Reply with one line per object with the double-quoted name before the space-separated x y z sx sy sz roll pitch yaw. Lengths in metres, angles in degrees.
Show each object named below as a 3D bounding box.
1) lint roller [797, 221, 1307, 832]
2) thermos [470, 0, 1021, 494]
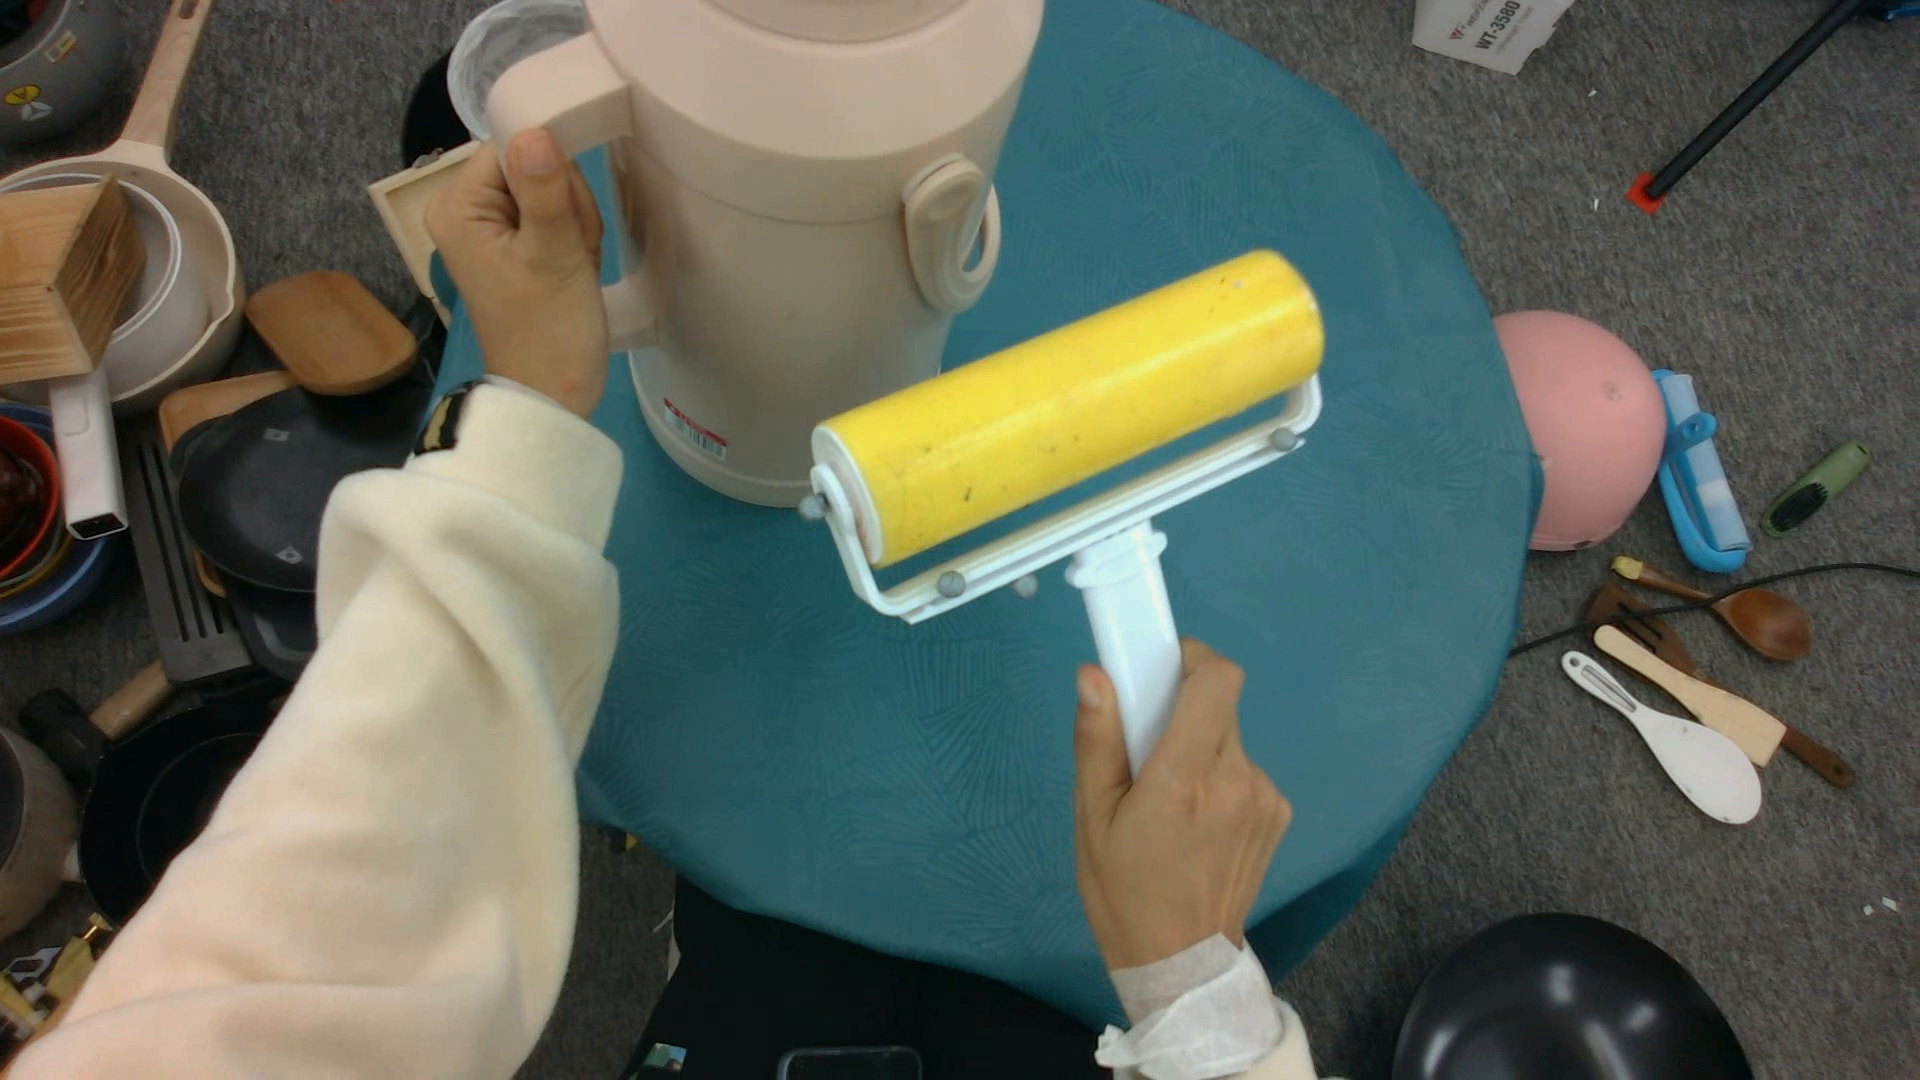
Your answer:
"lint roller" 0.057 0.014 0.448 0.175 0.051 0.192 -25 102 -19
"thermos" -0.082 -0.159 0.550 0.207 0.404 0.175 -31 78 -19
